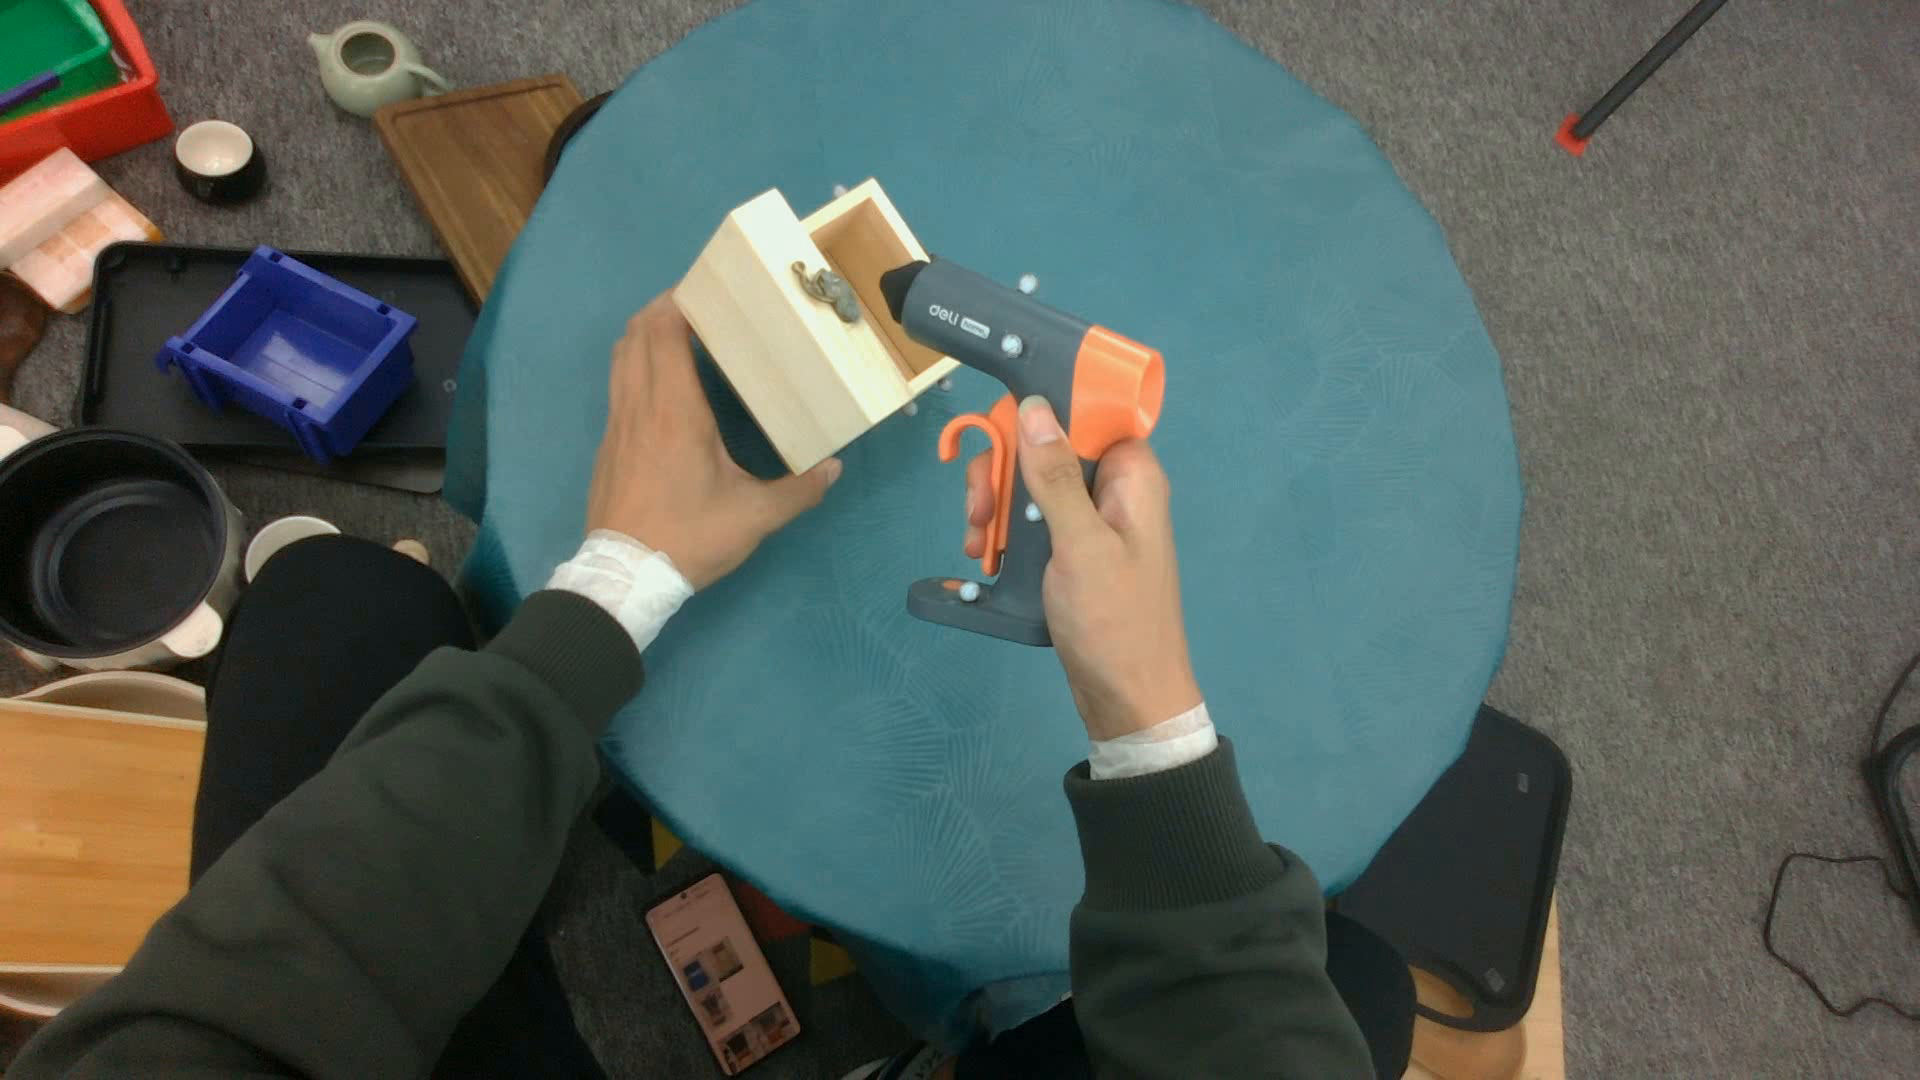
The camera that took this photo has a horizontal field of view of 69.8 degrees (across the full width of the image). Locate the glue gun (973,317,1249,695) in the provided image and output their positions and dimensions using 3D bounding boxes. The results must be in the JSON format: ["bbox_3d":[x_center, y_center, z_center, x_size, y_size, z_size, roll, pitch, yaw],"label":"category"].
[{"bbox_3d":[0.051,-0.016,0.554,0.118,0.041,0.139,12,103,29],"label":"glue gun"}]

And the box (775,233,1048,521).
[{"bbox_3d":[-0.008,-0.089,0.674,0.134,0.184,0.102,-35,92,-22],"label":"box"}]
